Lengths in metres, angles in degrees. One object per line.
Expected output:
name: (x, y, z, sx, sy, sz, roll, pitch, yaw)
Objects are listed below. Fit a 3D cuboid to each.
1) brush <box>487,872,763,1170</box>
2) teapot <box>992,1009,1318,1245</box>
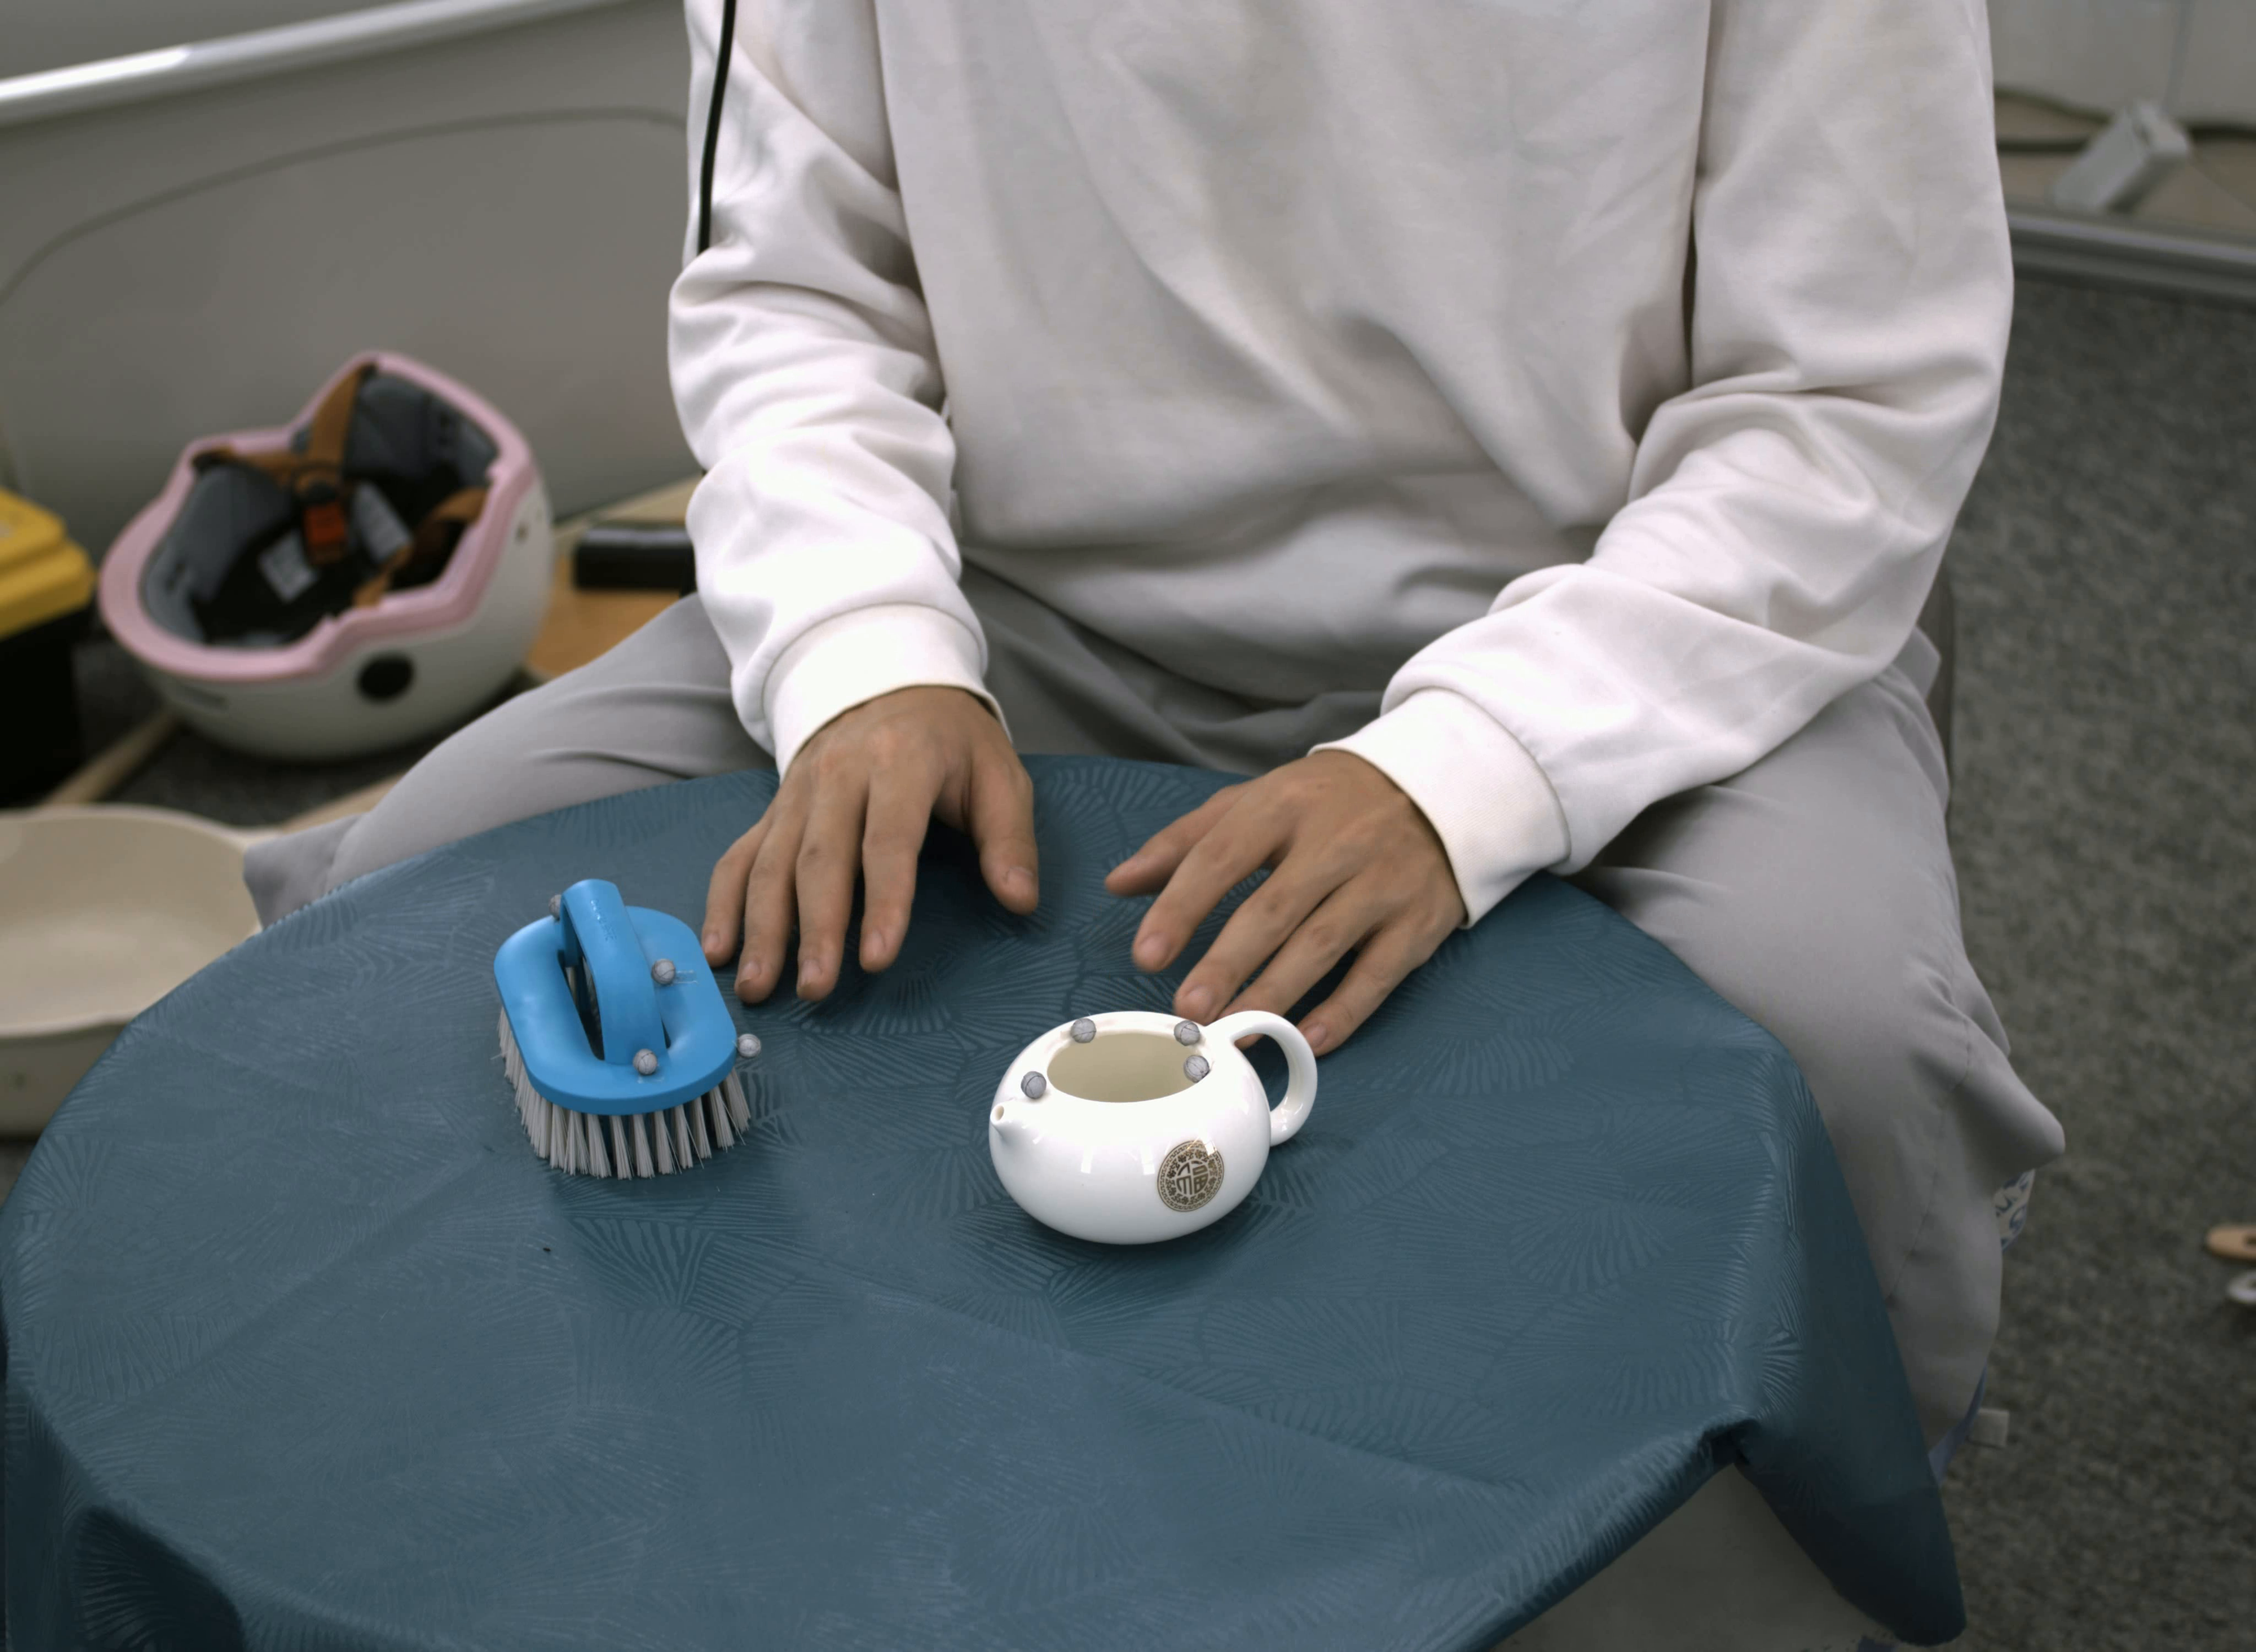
brush: (-0.177, 0.058, 1.932, 0.084, 0.063, 0.143, -13, 28, -9)
teapot: (0.010, 0.097, 1.853, 0.128, 0.056, 0.093, -21, 28, -34)
